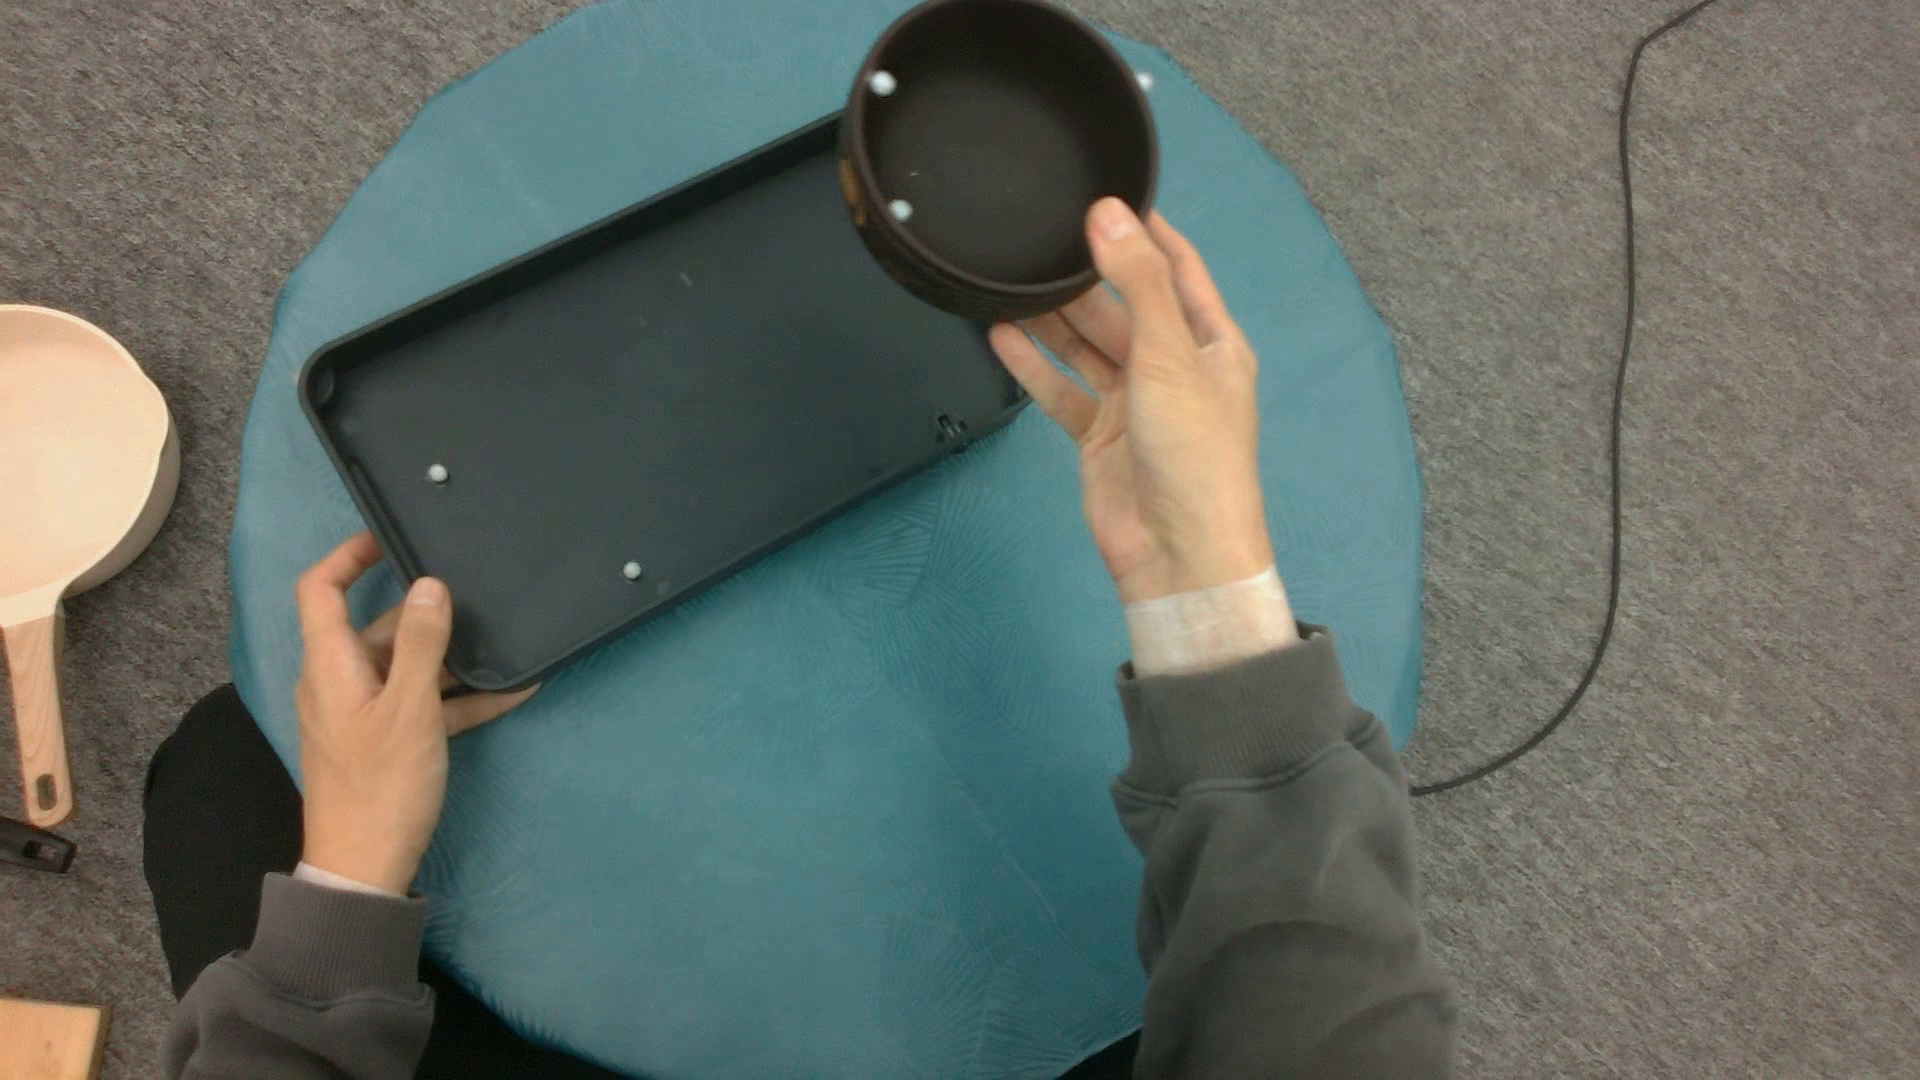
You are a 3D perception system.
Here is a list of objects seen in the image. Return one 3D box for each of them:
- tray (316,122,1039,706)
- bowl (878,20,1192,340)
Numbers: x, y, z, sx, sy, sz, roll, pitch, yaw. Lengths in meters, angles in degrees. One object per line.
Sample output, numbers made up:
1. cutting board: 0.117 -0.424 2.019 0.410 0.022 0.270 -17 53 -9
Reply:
1. tray: -0.133 -0.069 0.692 0.319 0.037 0.184 -32 83 -15
2. bowl: 0.024 -0.134 0.541 0.118 0.069 0.118 2 83 -14
